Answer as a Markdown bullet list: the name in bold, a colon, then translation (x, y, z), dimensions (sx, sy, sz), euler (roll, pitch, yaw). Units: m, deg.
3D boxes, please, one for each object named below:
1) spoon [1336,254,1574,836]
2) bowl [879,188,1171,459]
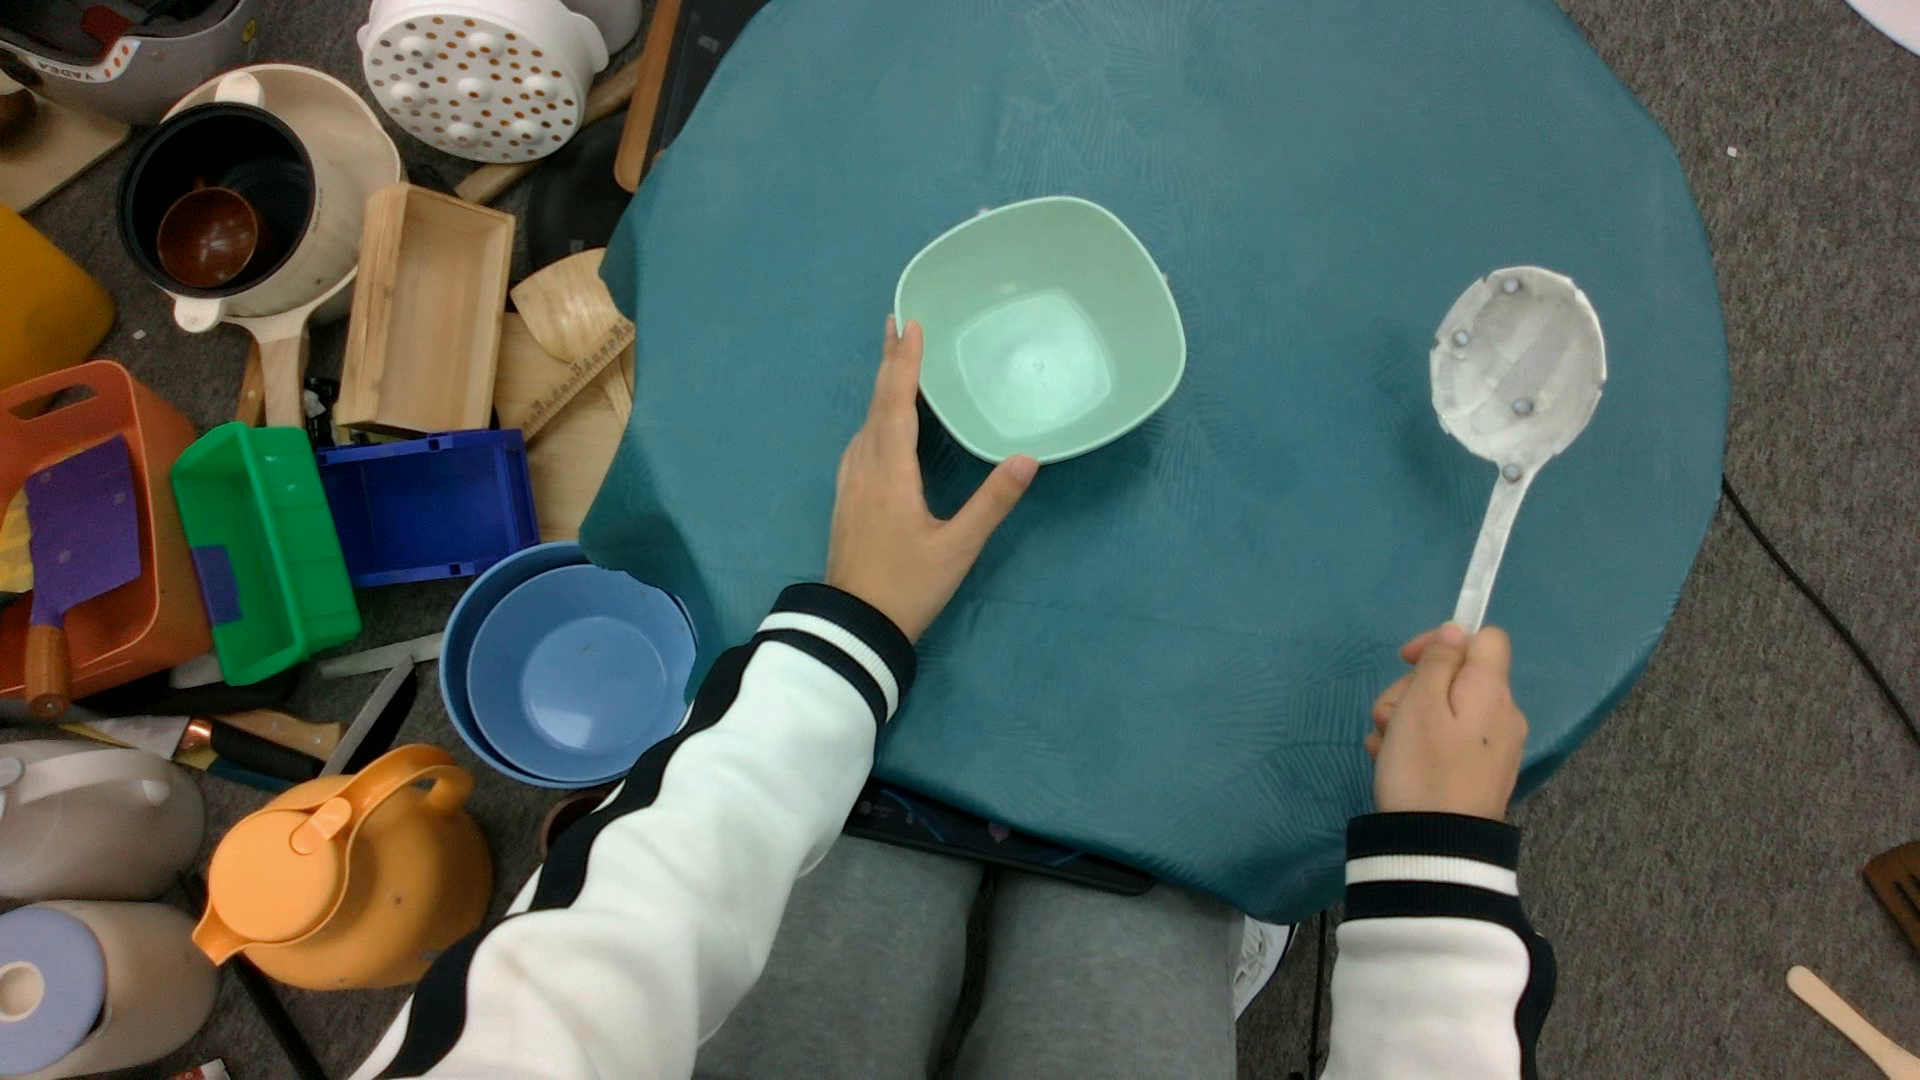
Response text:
- **spoon**: translation (0.210, -0.002, 0.641), dimensions (0.059, 0.100, 0.278), euler (32, 76, -25)
- **bowl**: translation (0.032, -0.105, 0.719), dimensions (0.151, 0.058, 0.152), euler (0, 74, -2)
